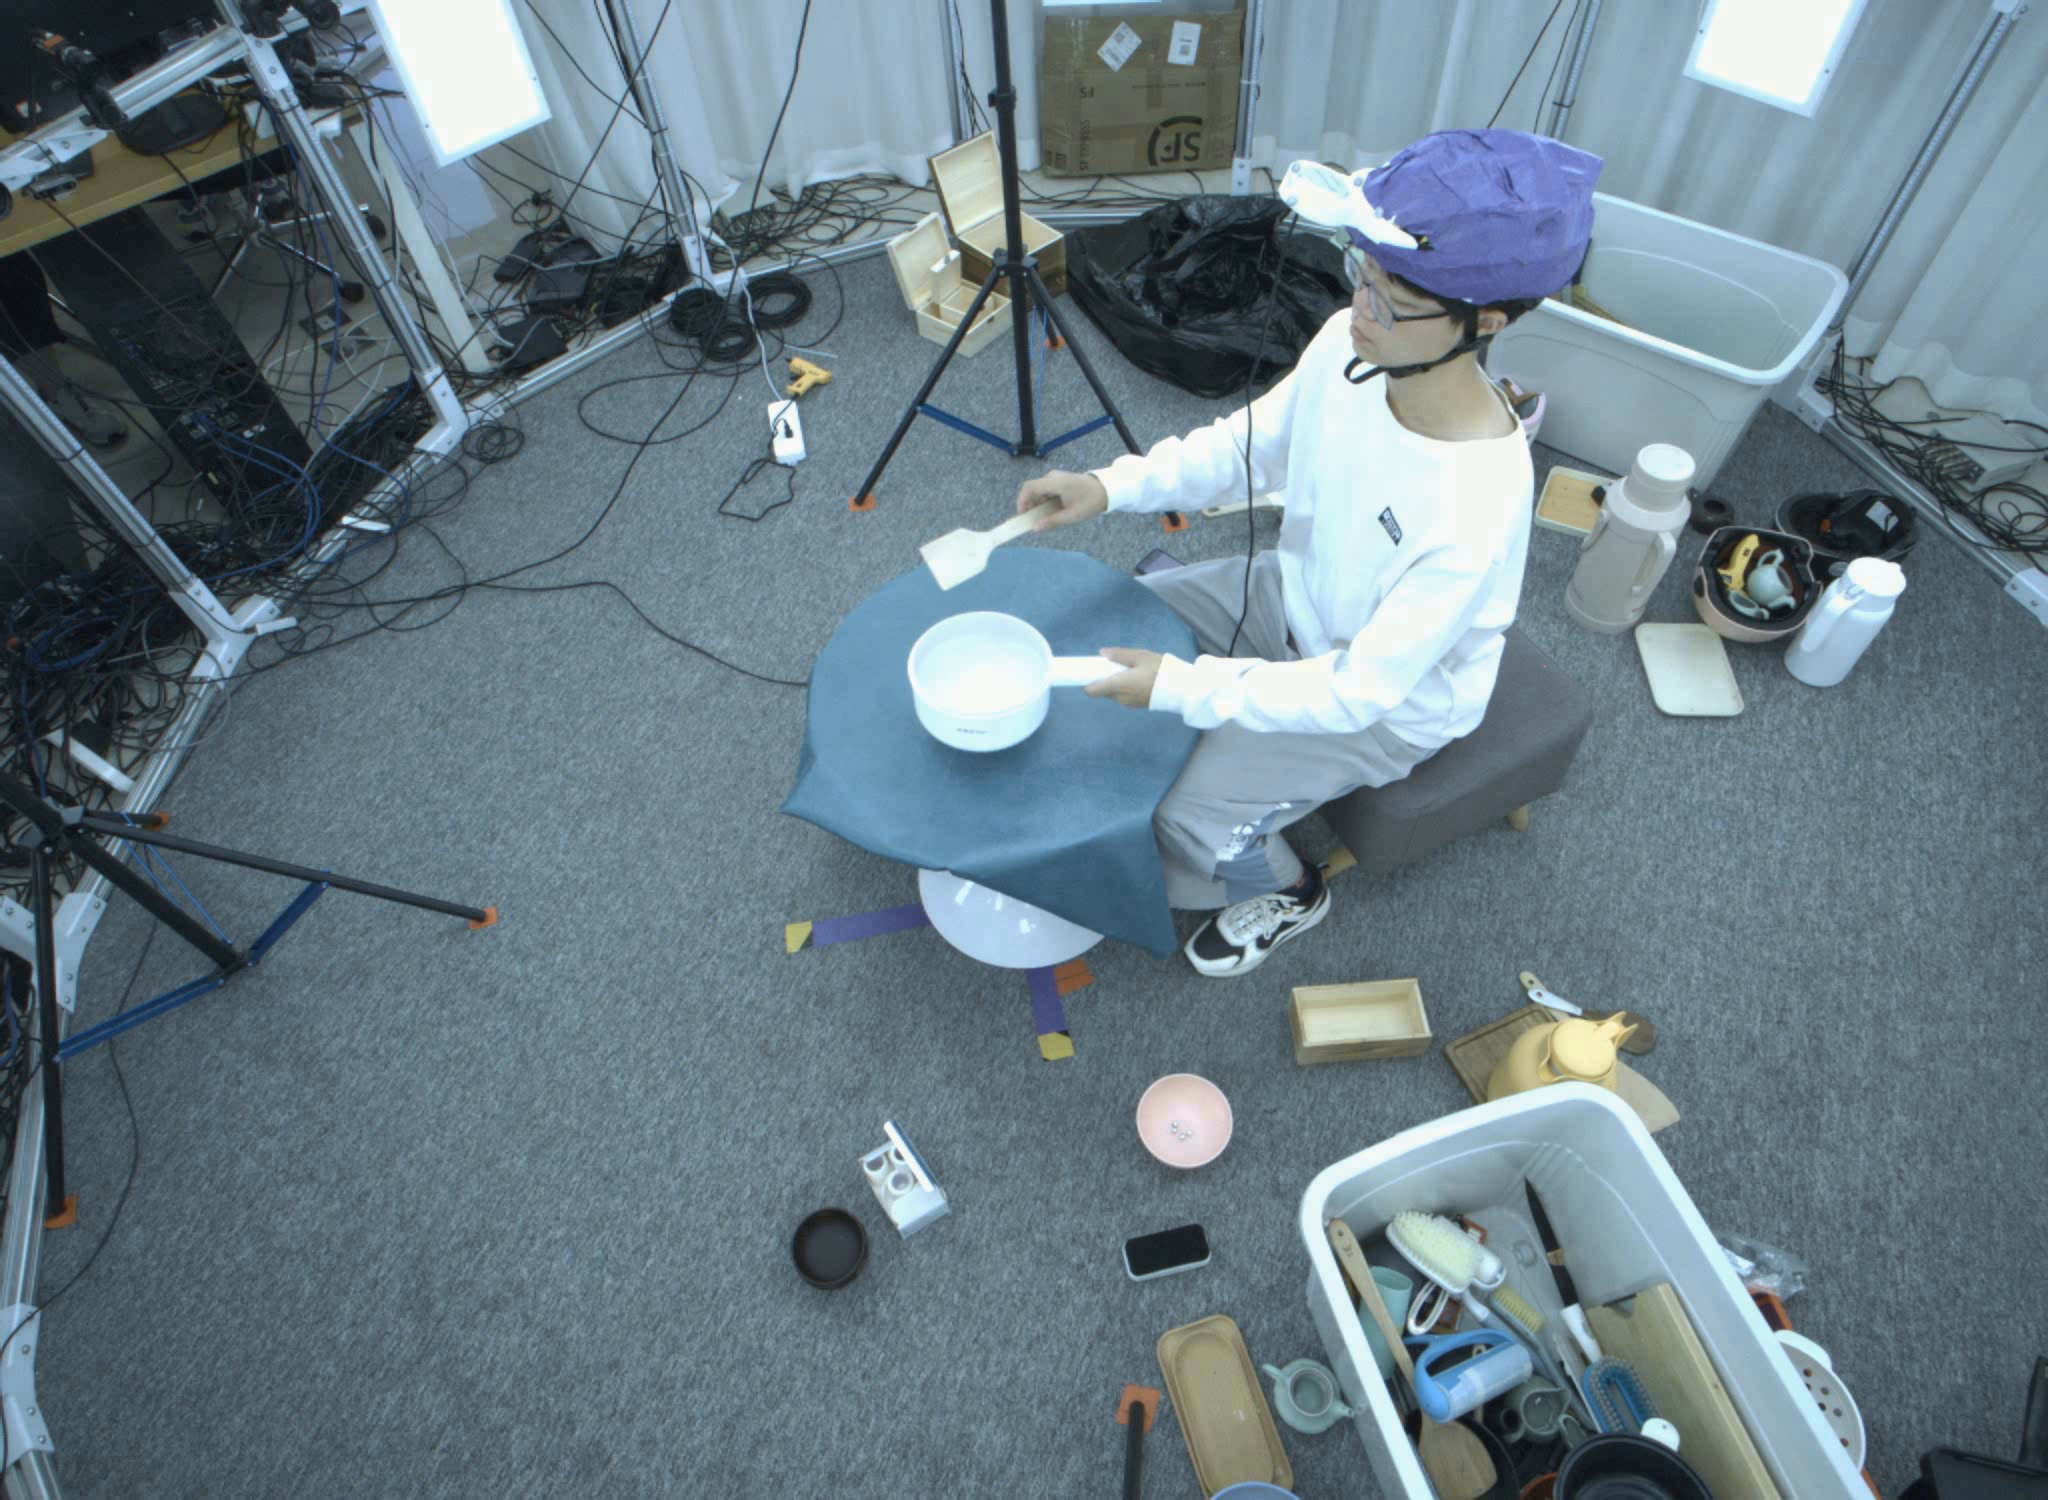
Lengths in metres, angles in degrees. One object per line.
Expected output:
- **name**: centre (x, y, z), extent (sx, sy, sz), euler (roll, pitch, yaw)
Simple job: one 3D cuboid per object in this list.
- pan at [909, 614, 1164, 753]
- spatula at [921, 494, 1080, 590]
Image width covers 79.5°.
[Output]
- **pan**: centre (0.017, -0.088, 1.738), extent (0.356, 0.103, 0.199), euler (1, 50, -3)
- **spatula**: centre (-0.027, -0.317, 1.786), extent (0.296, 0.010, 0.072), euler (-32, 95, -33)
